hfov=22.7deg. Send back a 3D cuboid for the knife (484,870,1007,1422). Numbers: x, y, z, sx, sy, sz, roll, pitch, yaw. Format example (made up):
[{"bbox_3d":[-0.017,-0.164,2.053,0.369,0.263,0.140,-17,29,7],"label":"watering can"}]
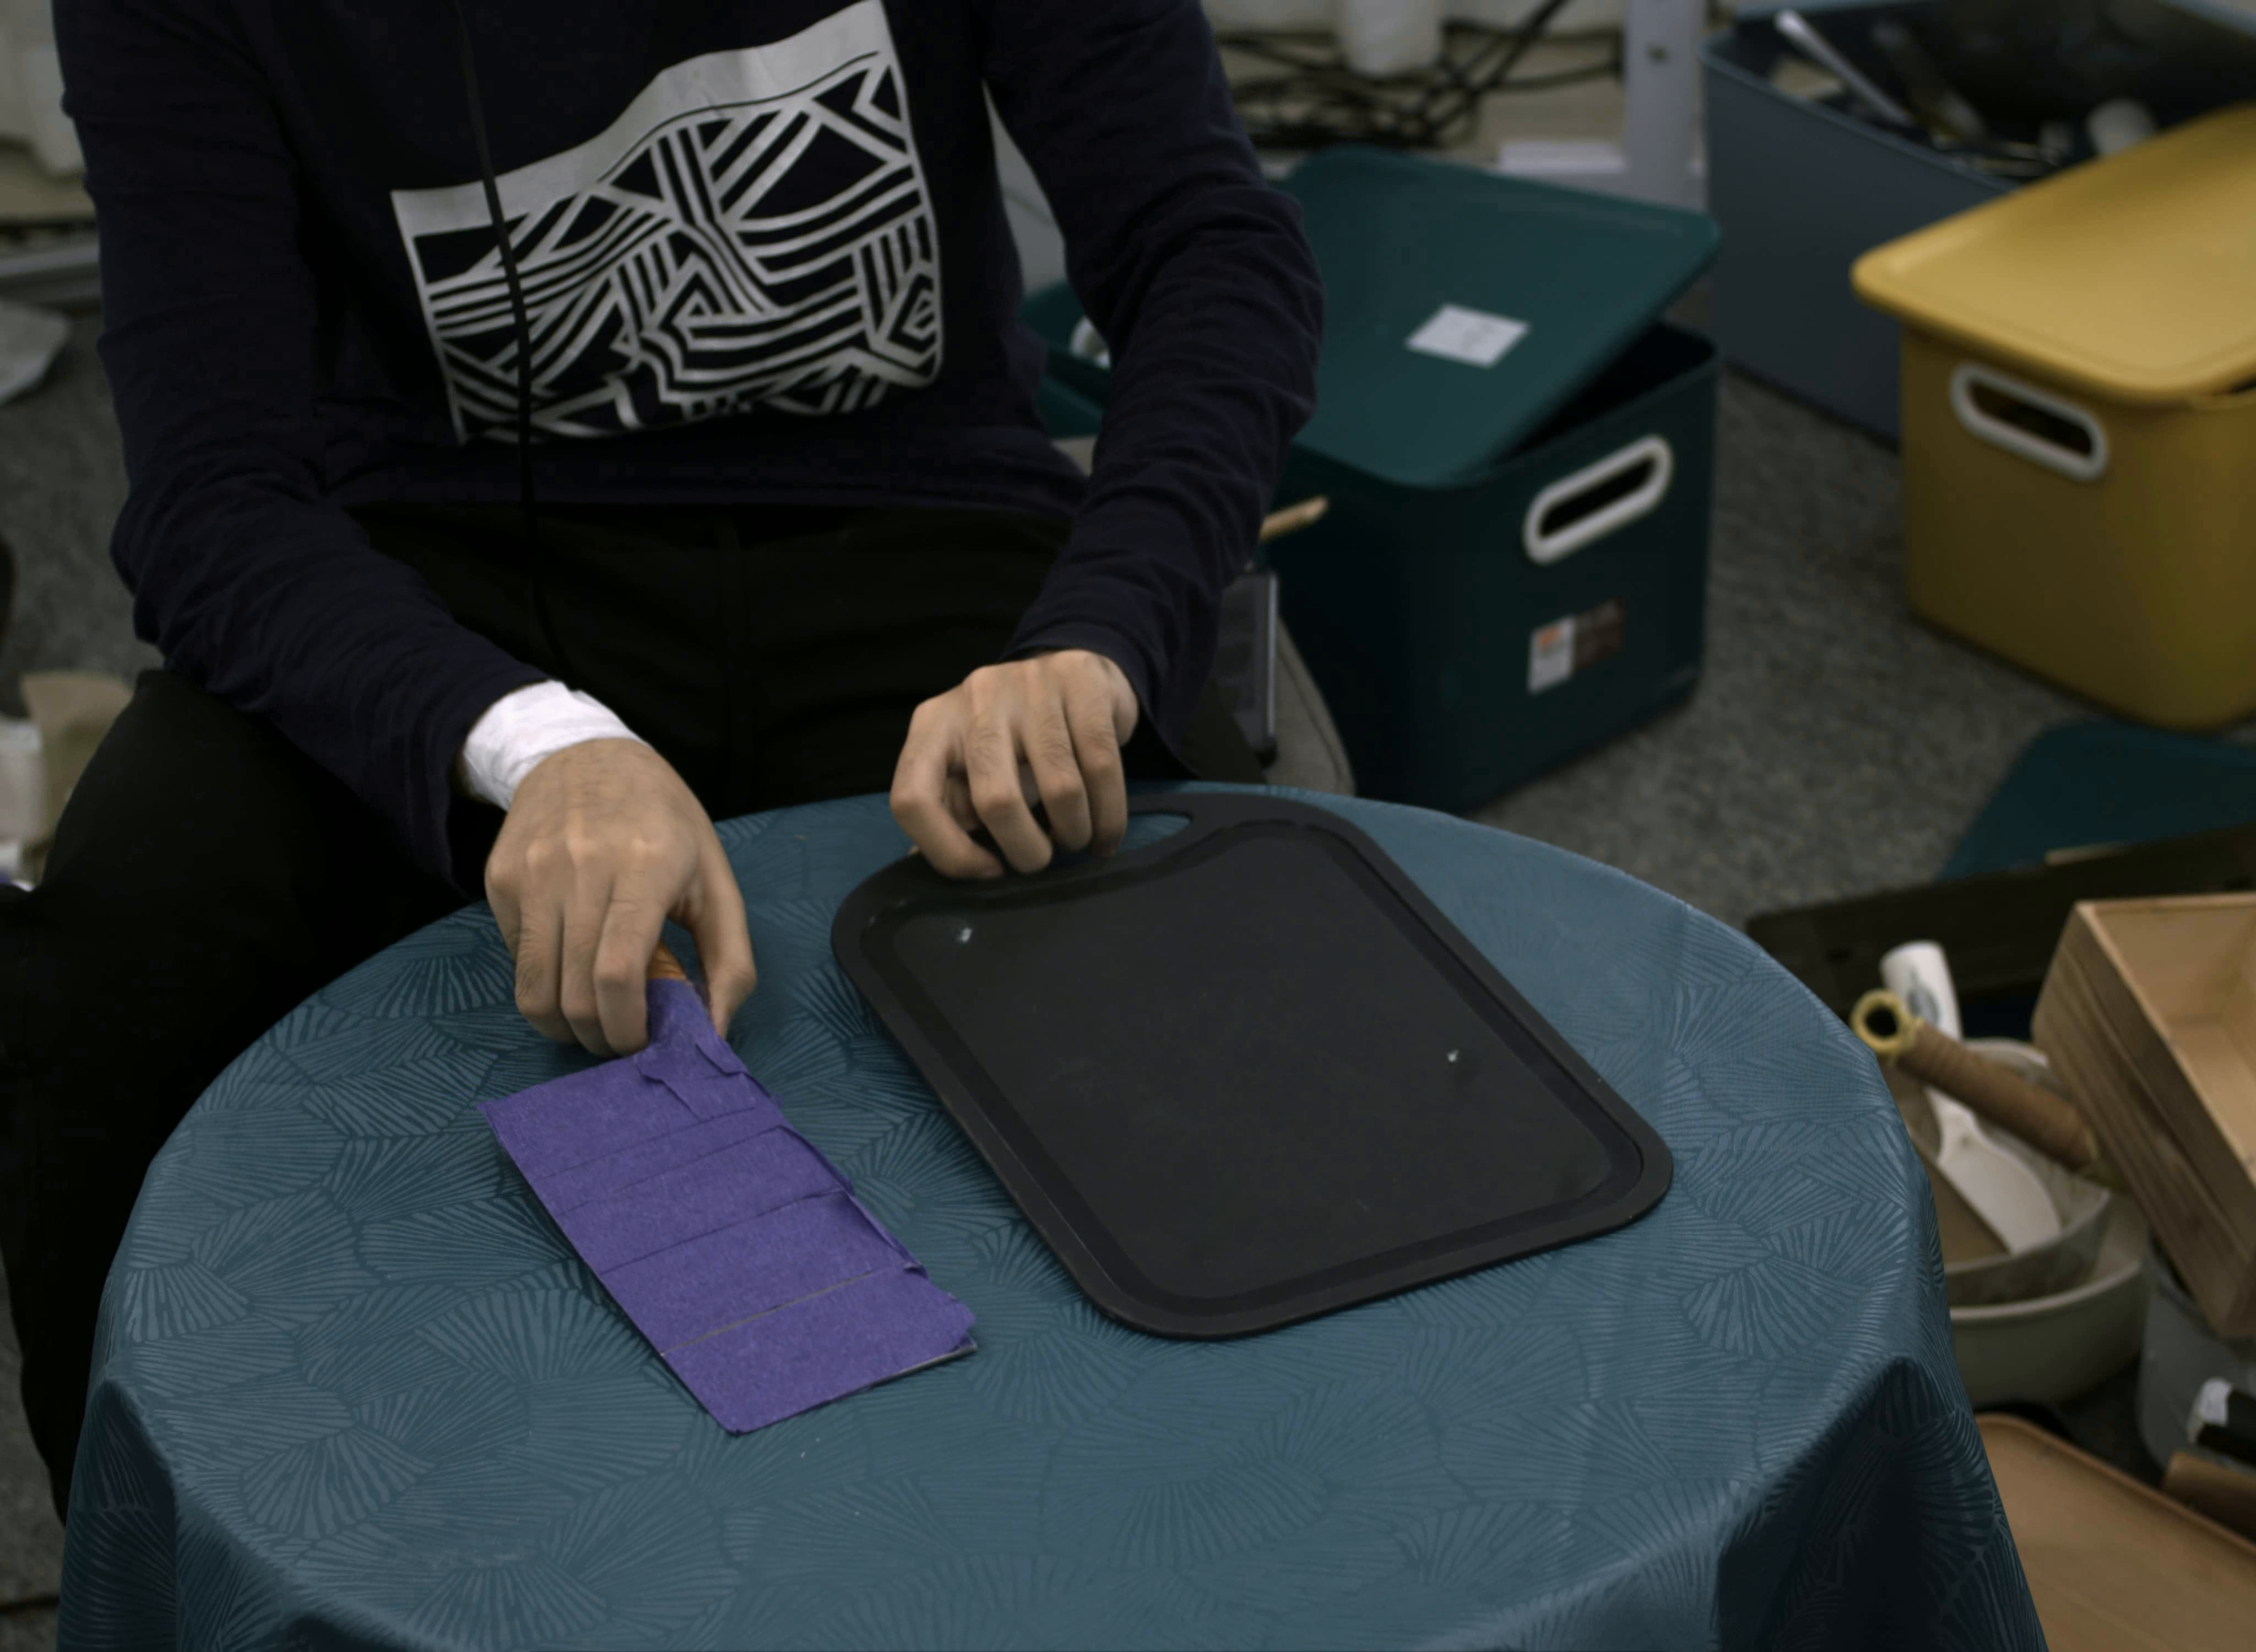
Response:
[{"bbox_3d":[-0.157,0.102,1.873,0.104,0.032,0.317,-16,32,-24],"label":"knife"}]

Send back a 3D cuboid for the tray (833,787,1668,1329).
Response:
[{"bbox_3d":[0.032,0.069,1.929,0.212,0.009,0.328,-13,33,-20],"label":"tray"}]
